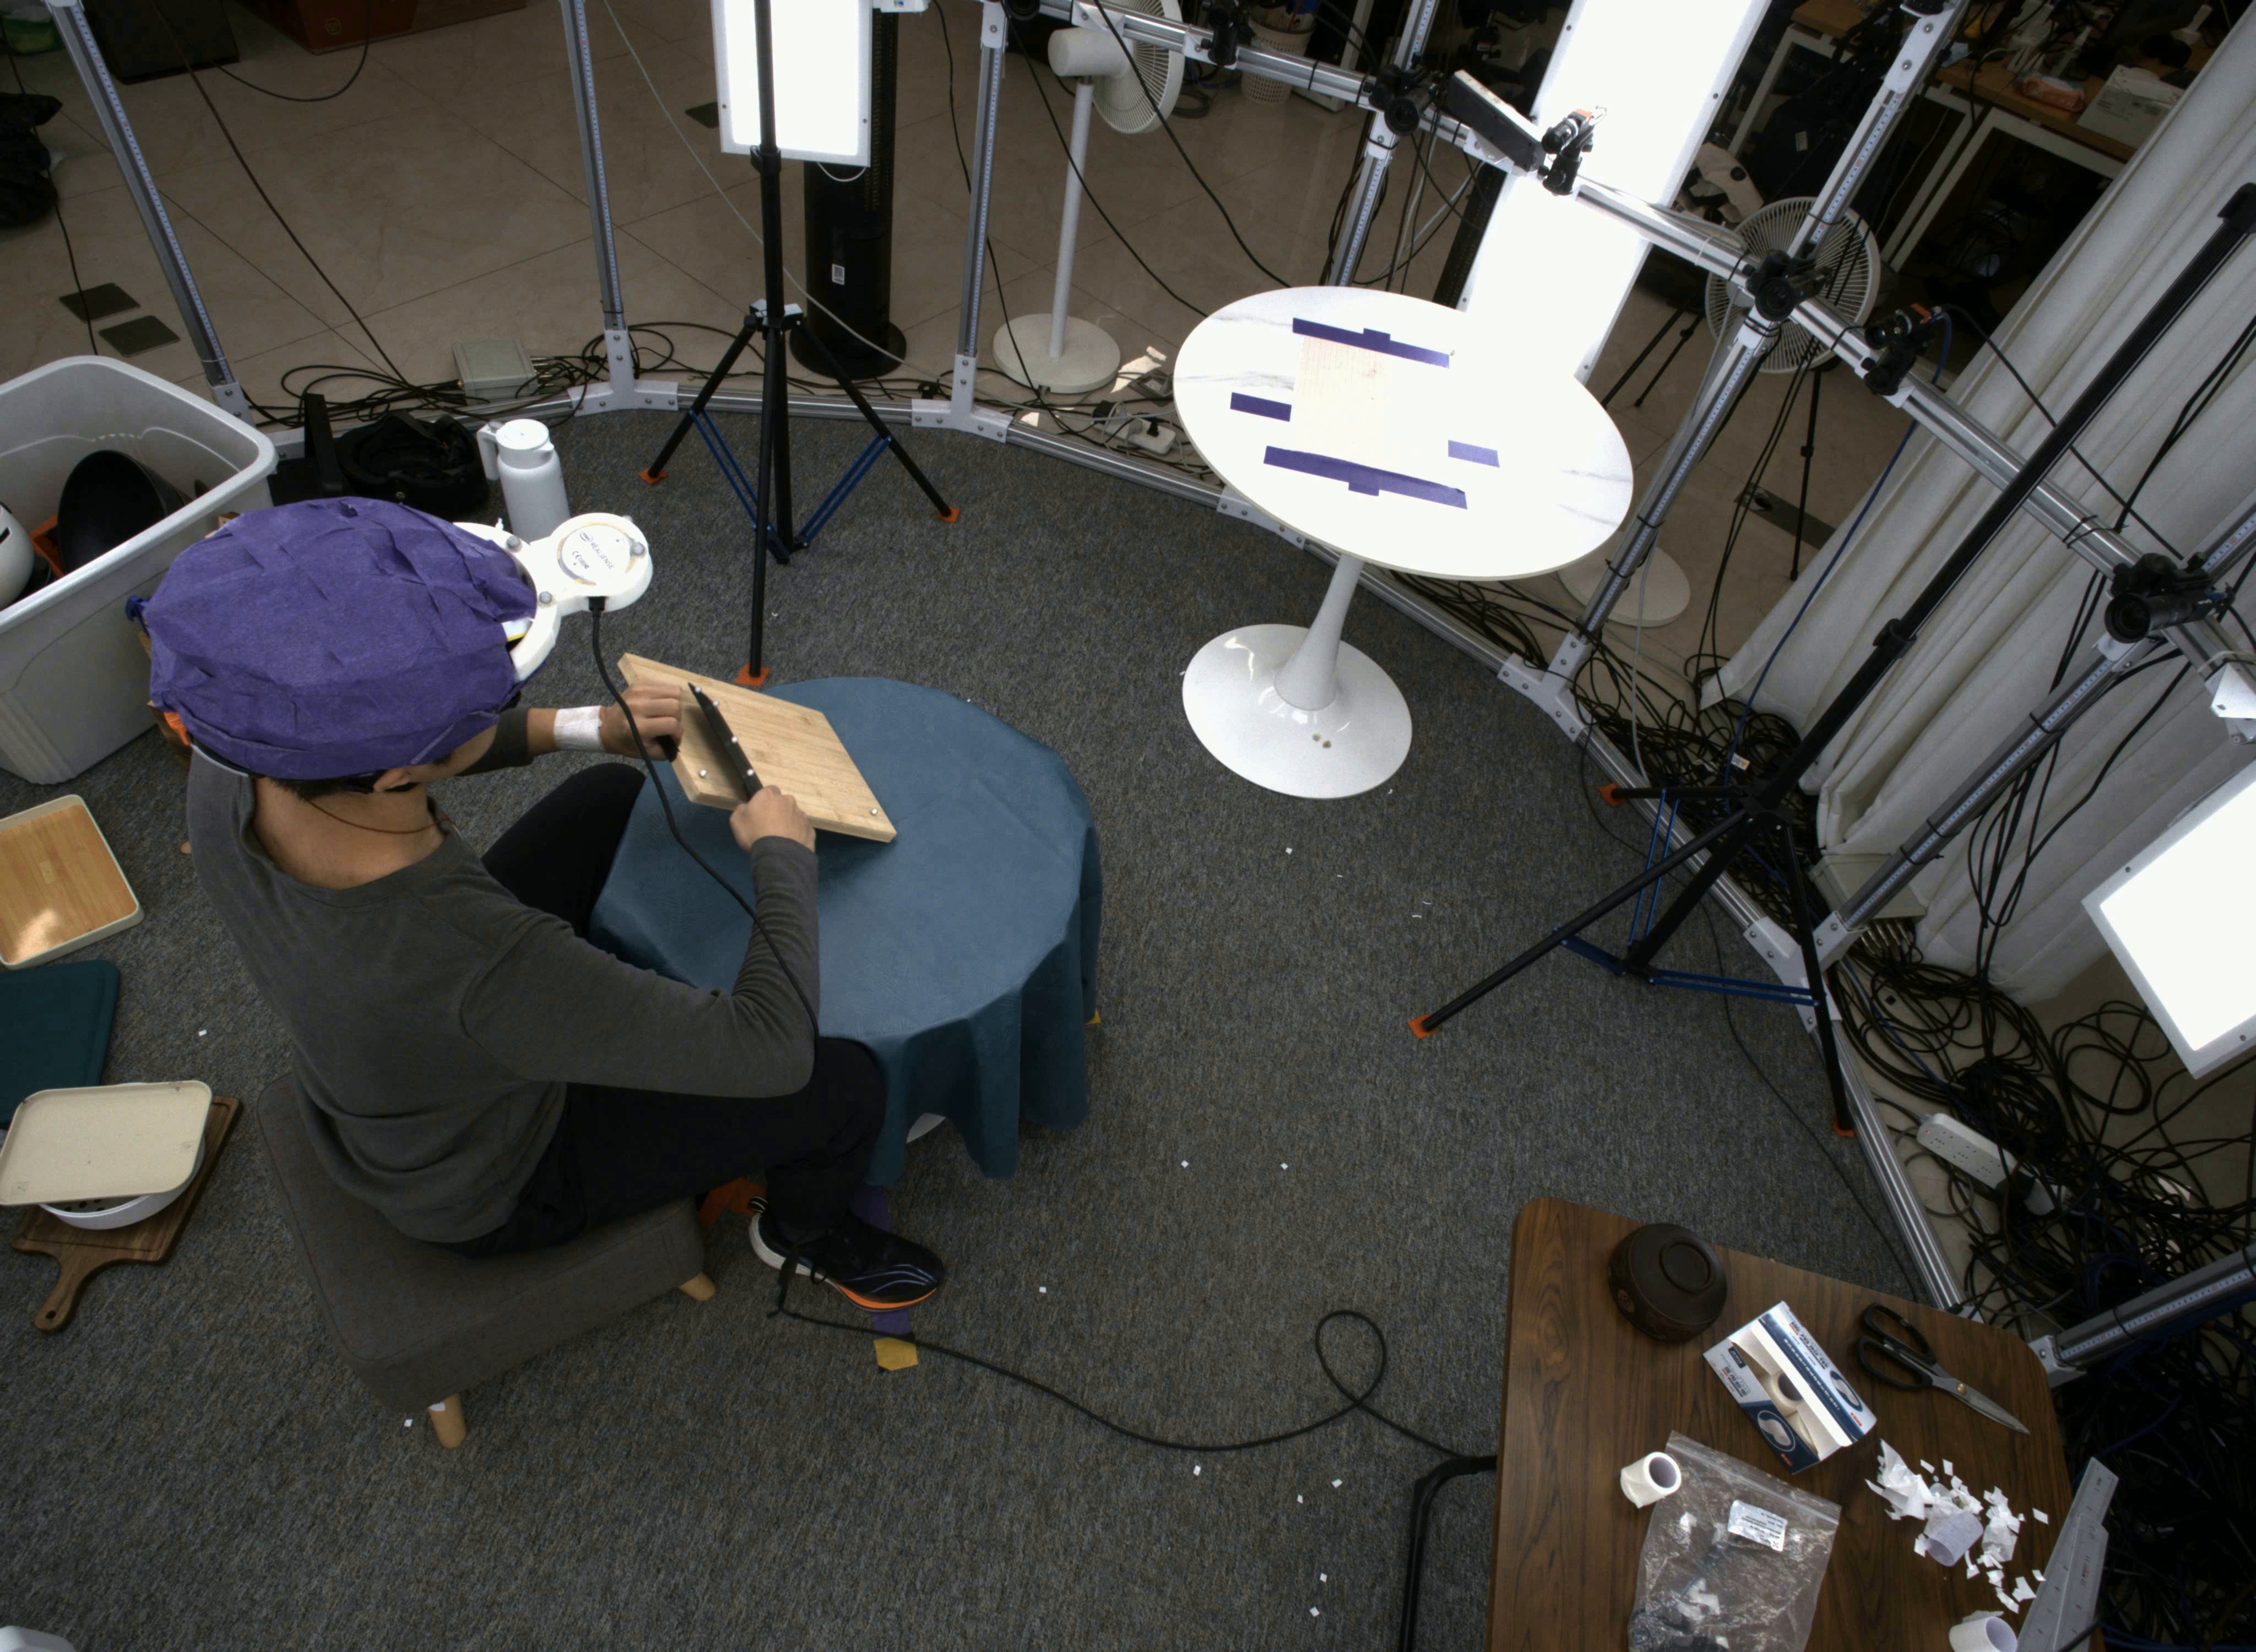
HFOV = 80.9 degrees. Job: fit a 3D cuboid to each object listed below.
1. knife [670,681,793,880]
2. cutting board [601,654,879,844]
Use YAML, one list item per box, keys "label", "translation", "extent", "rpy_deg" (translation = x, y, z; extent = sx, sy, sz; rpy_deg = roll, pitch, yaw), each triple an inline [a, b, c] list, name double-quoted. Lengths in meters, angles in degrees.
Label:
- label: "knife"
  translation: [-0.461, -0.056, 1.504]
  extent: [0.021, 0.083, 0.294]
  rpy_deg: [-37, 65, 1]
- label: "cutting board"
  translation: [-0.487, -0.093, 1.632]
  extent: [0.244, 0.023, 0.357]
  rpy_deg: [53, 18, 25]
